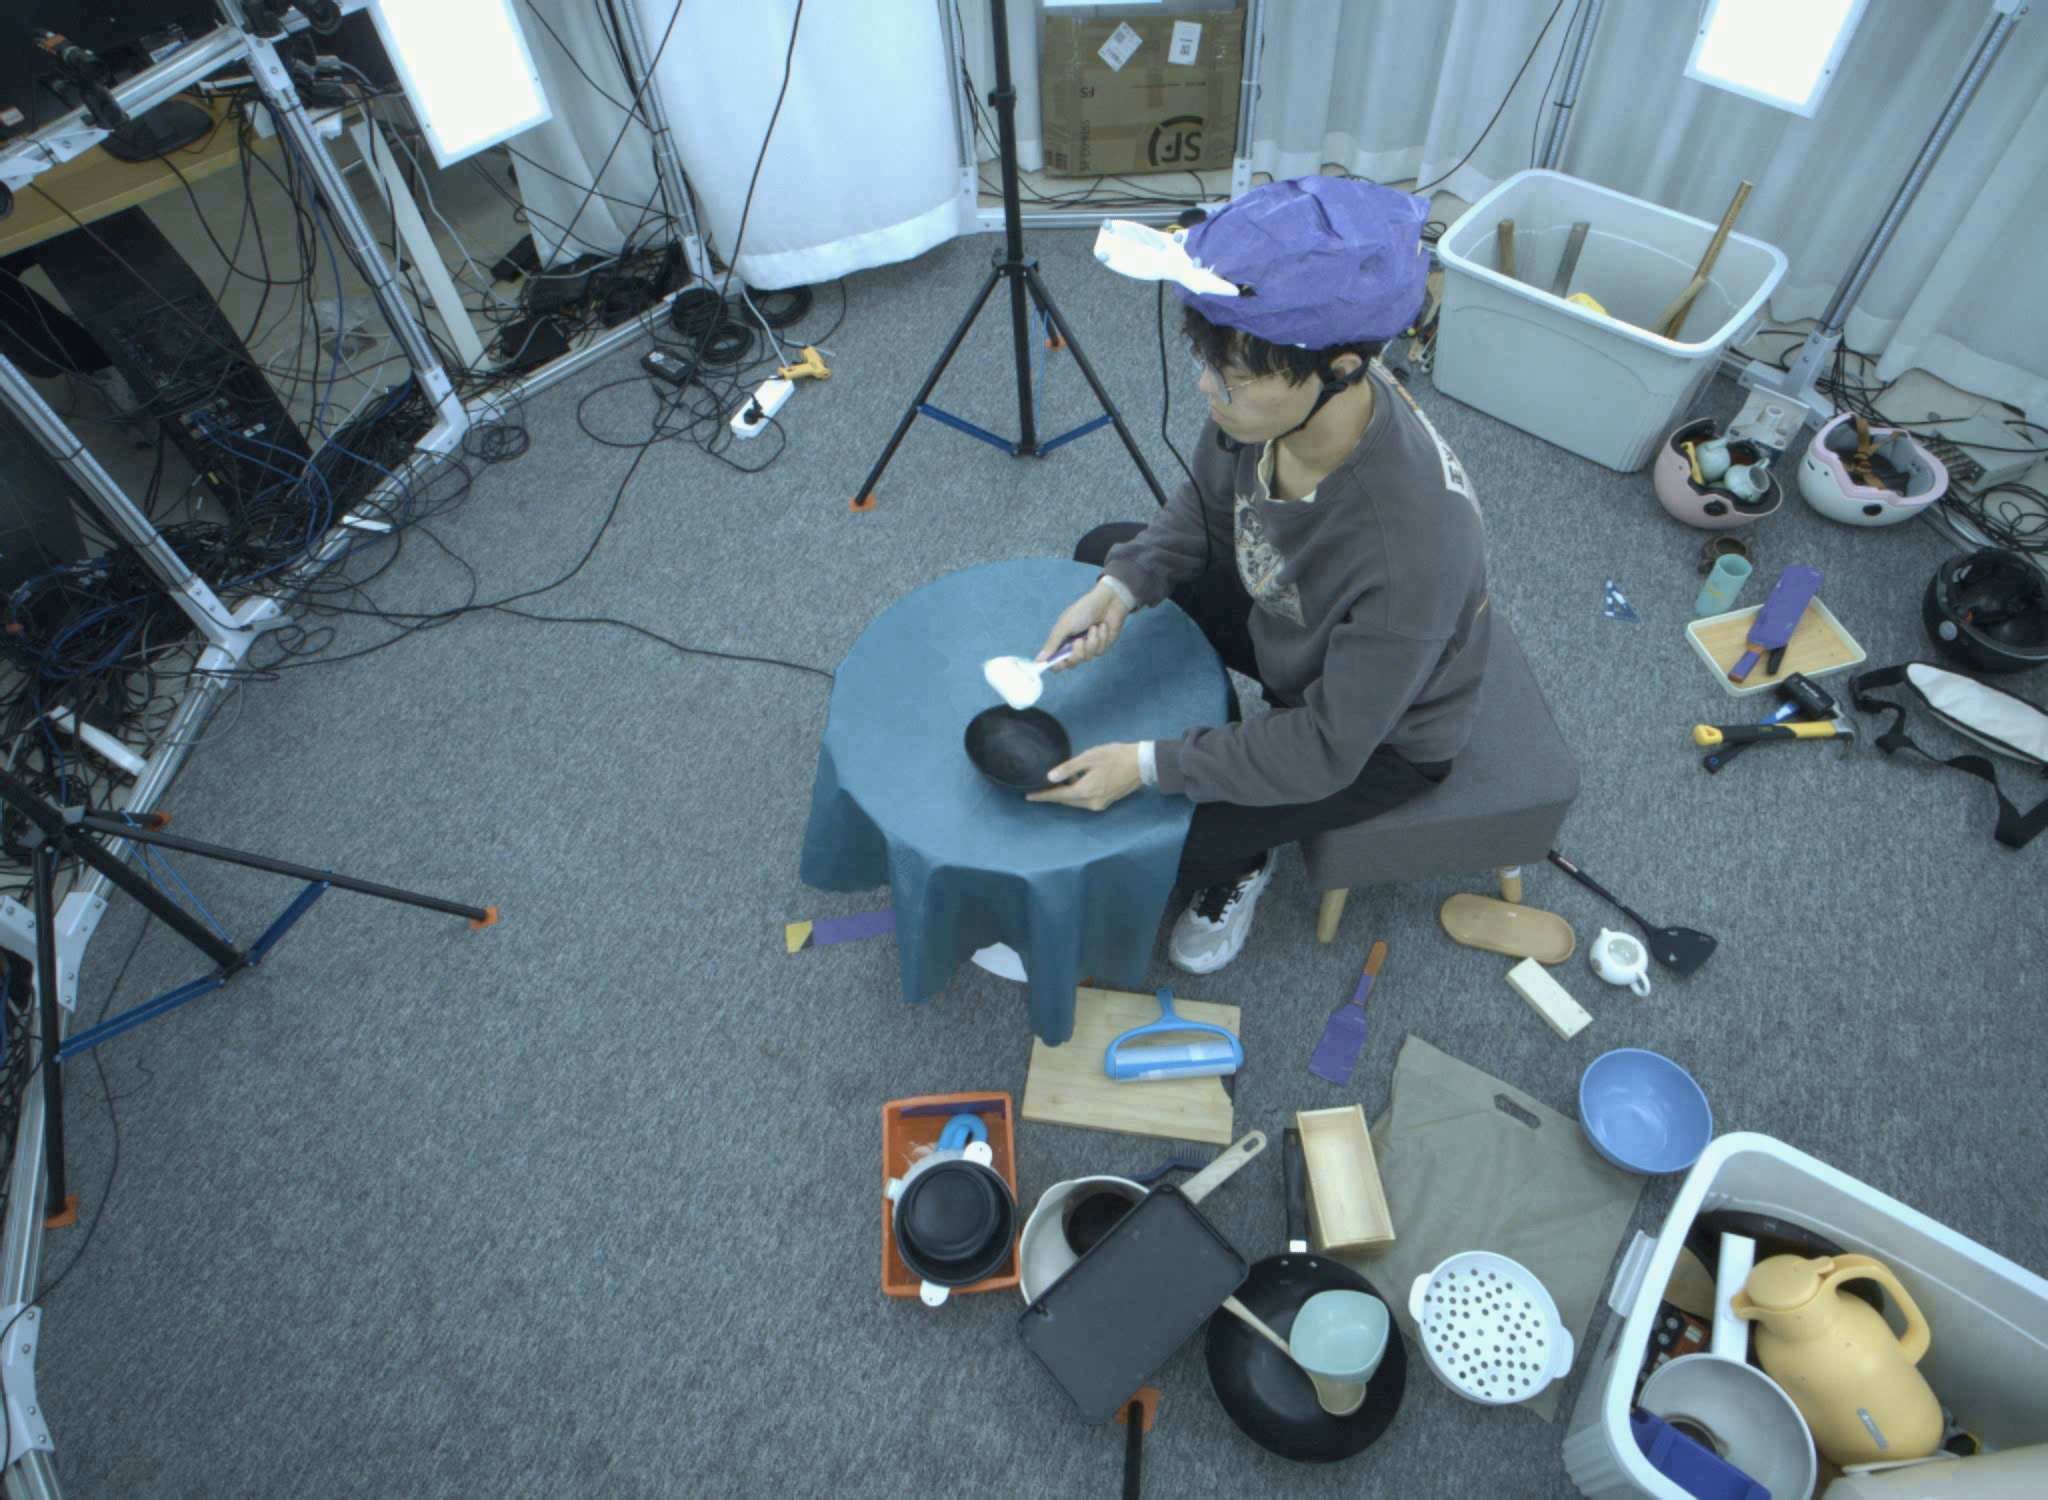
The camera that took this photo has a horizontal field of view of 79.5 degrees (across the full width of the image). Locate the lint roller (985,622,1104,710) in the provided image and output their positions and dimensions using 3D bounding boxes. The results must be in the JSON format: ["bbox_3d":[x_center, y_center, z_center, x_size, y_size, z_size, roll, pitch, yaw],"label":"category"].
[{"bbox_3d":[0.034,-0.135,1.742,0.181,0.051,0.130,-39,30,-1],"label":"lint roller"}]

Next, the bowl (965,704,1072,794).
[{"bbox_3d":[-0.008,0.008,1.740,0.138,0.067,0.167,-39,60,-24],"label":"bowl"}]
